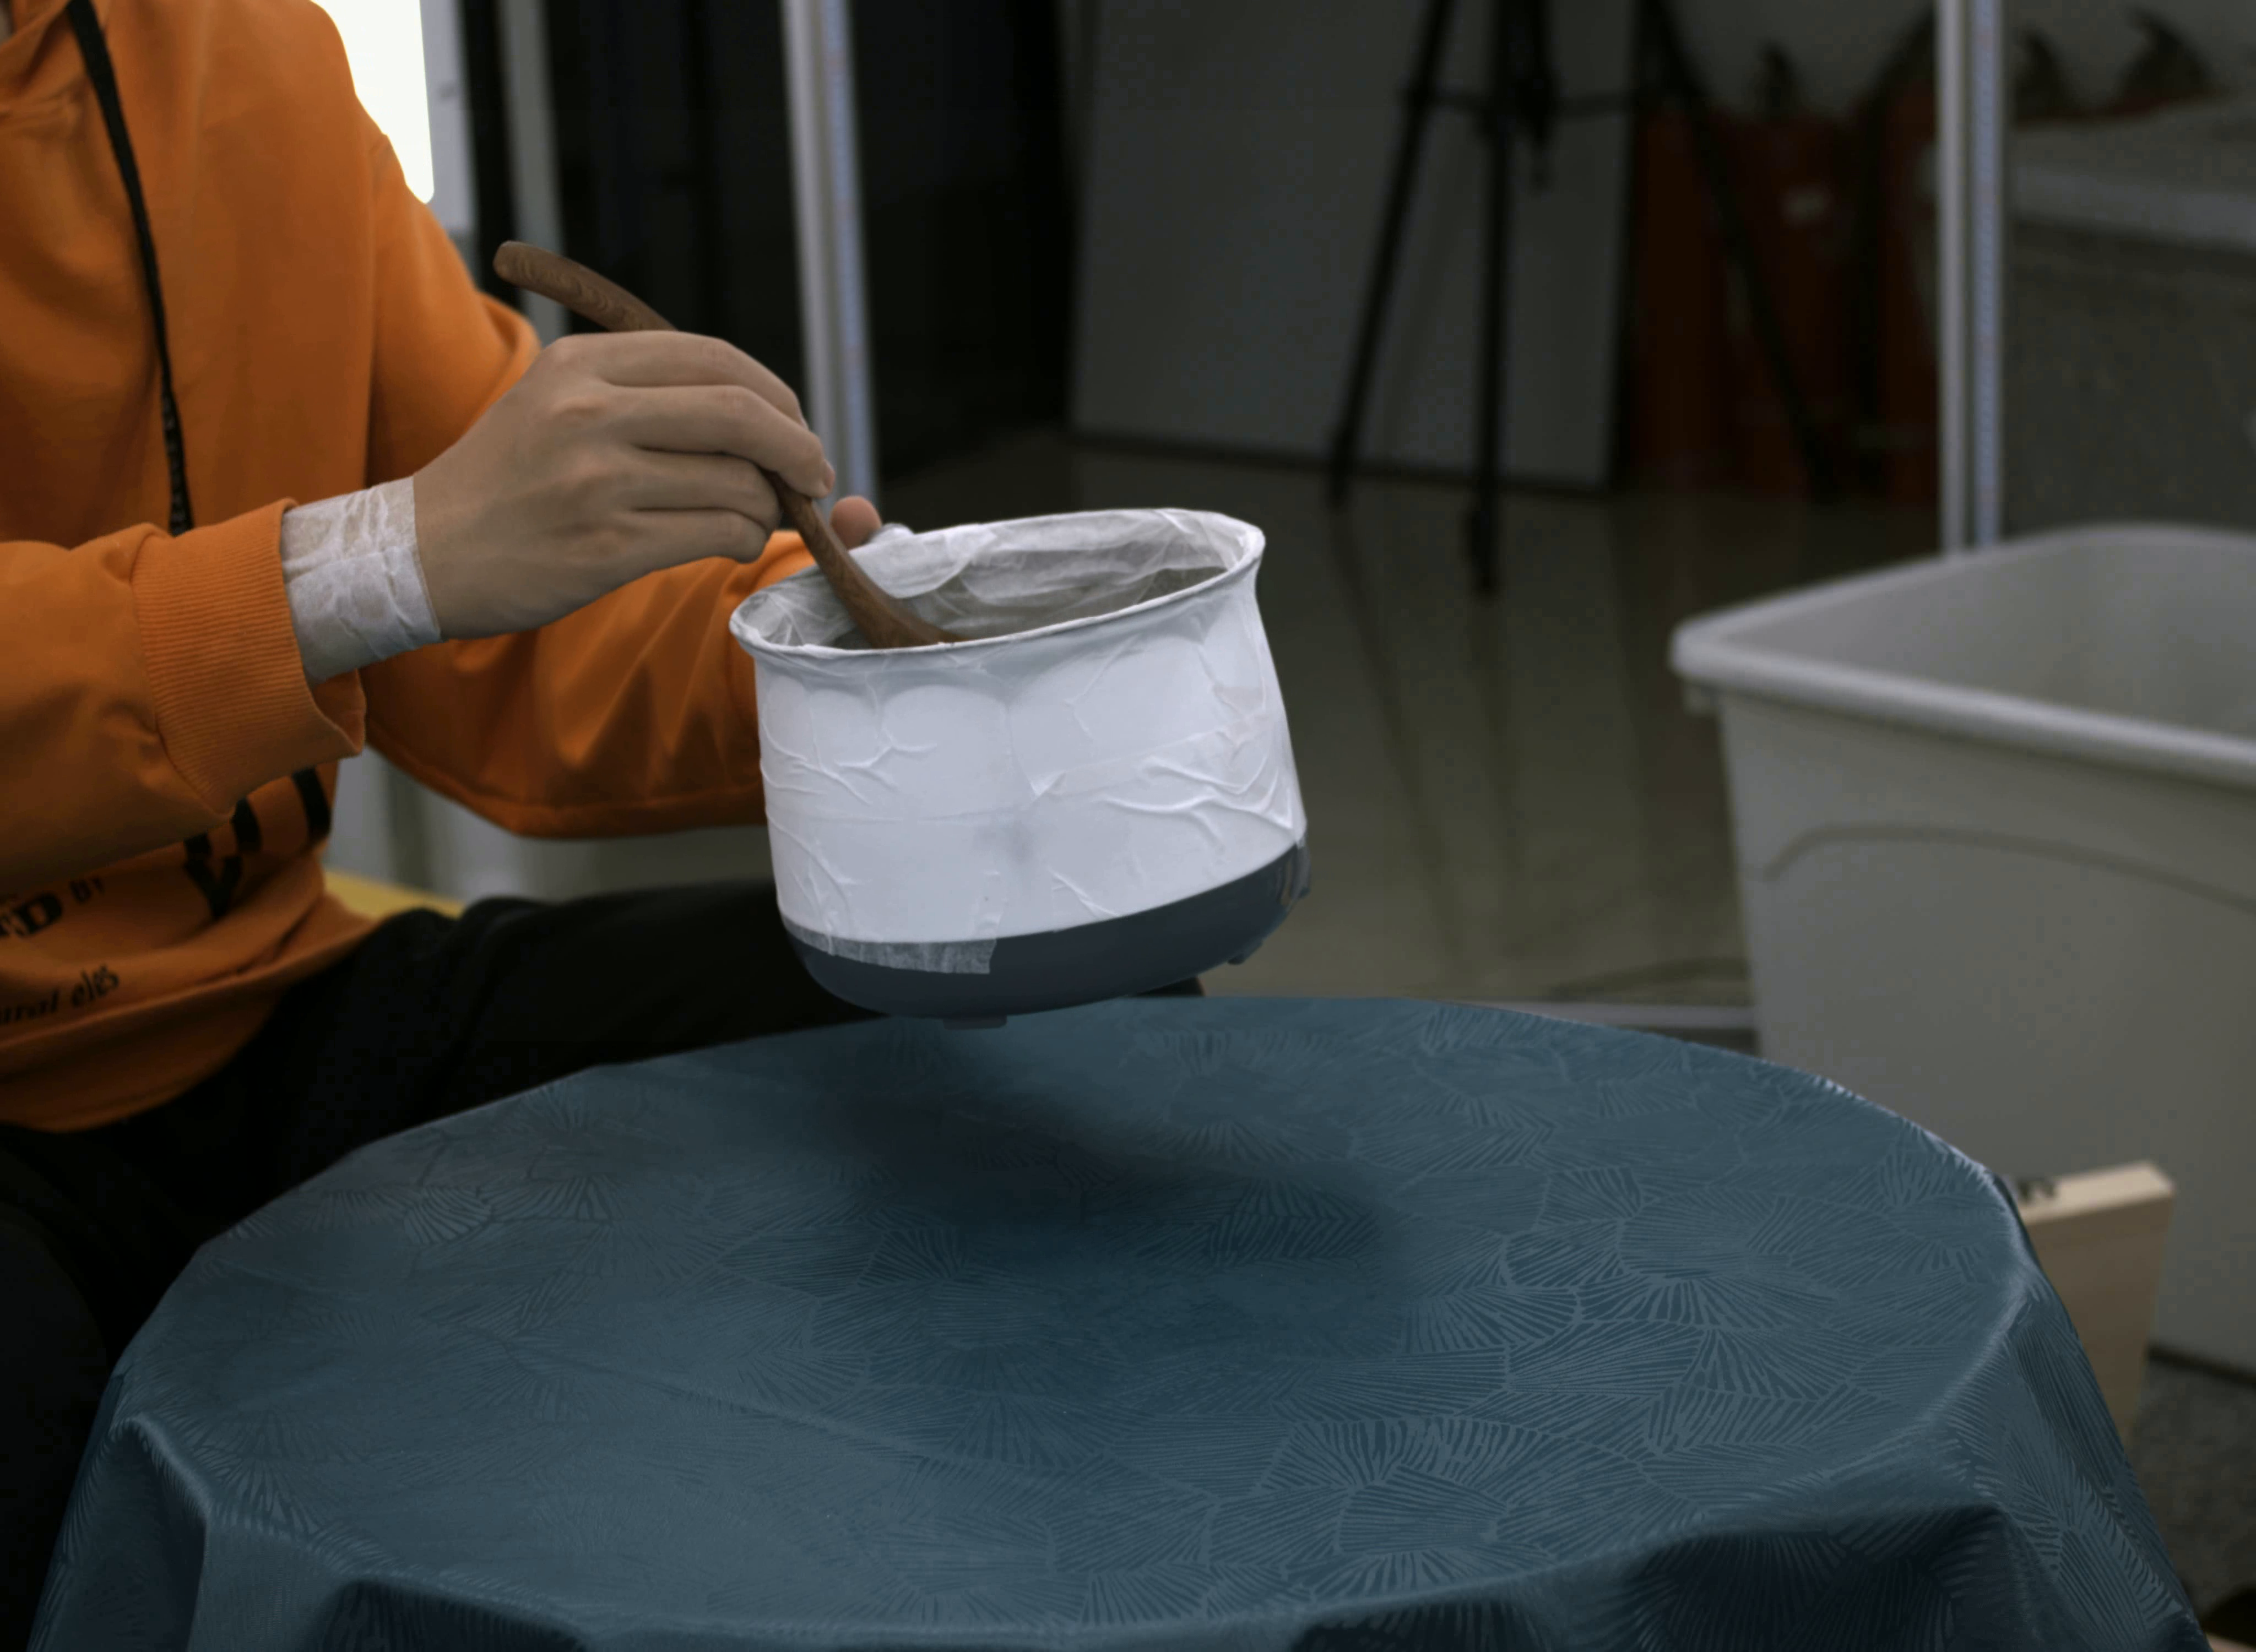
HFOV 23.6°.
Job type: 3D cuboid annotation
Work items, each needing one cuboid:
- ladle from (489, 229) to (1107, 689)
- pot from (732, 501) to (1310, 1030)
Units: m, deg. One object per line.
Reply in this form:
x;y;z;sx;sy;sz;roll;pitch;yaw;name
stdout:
-0.101;-0.120;1.790;0.065;0.260;0.076;-44;0;6;ladle
-0.044;-0.026;1.784;0.175;0.138;0.236;-14;15;-21;pot
